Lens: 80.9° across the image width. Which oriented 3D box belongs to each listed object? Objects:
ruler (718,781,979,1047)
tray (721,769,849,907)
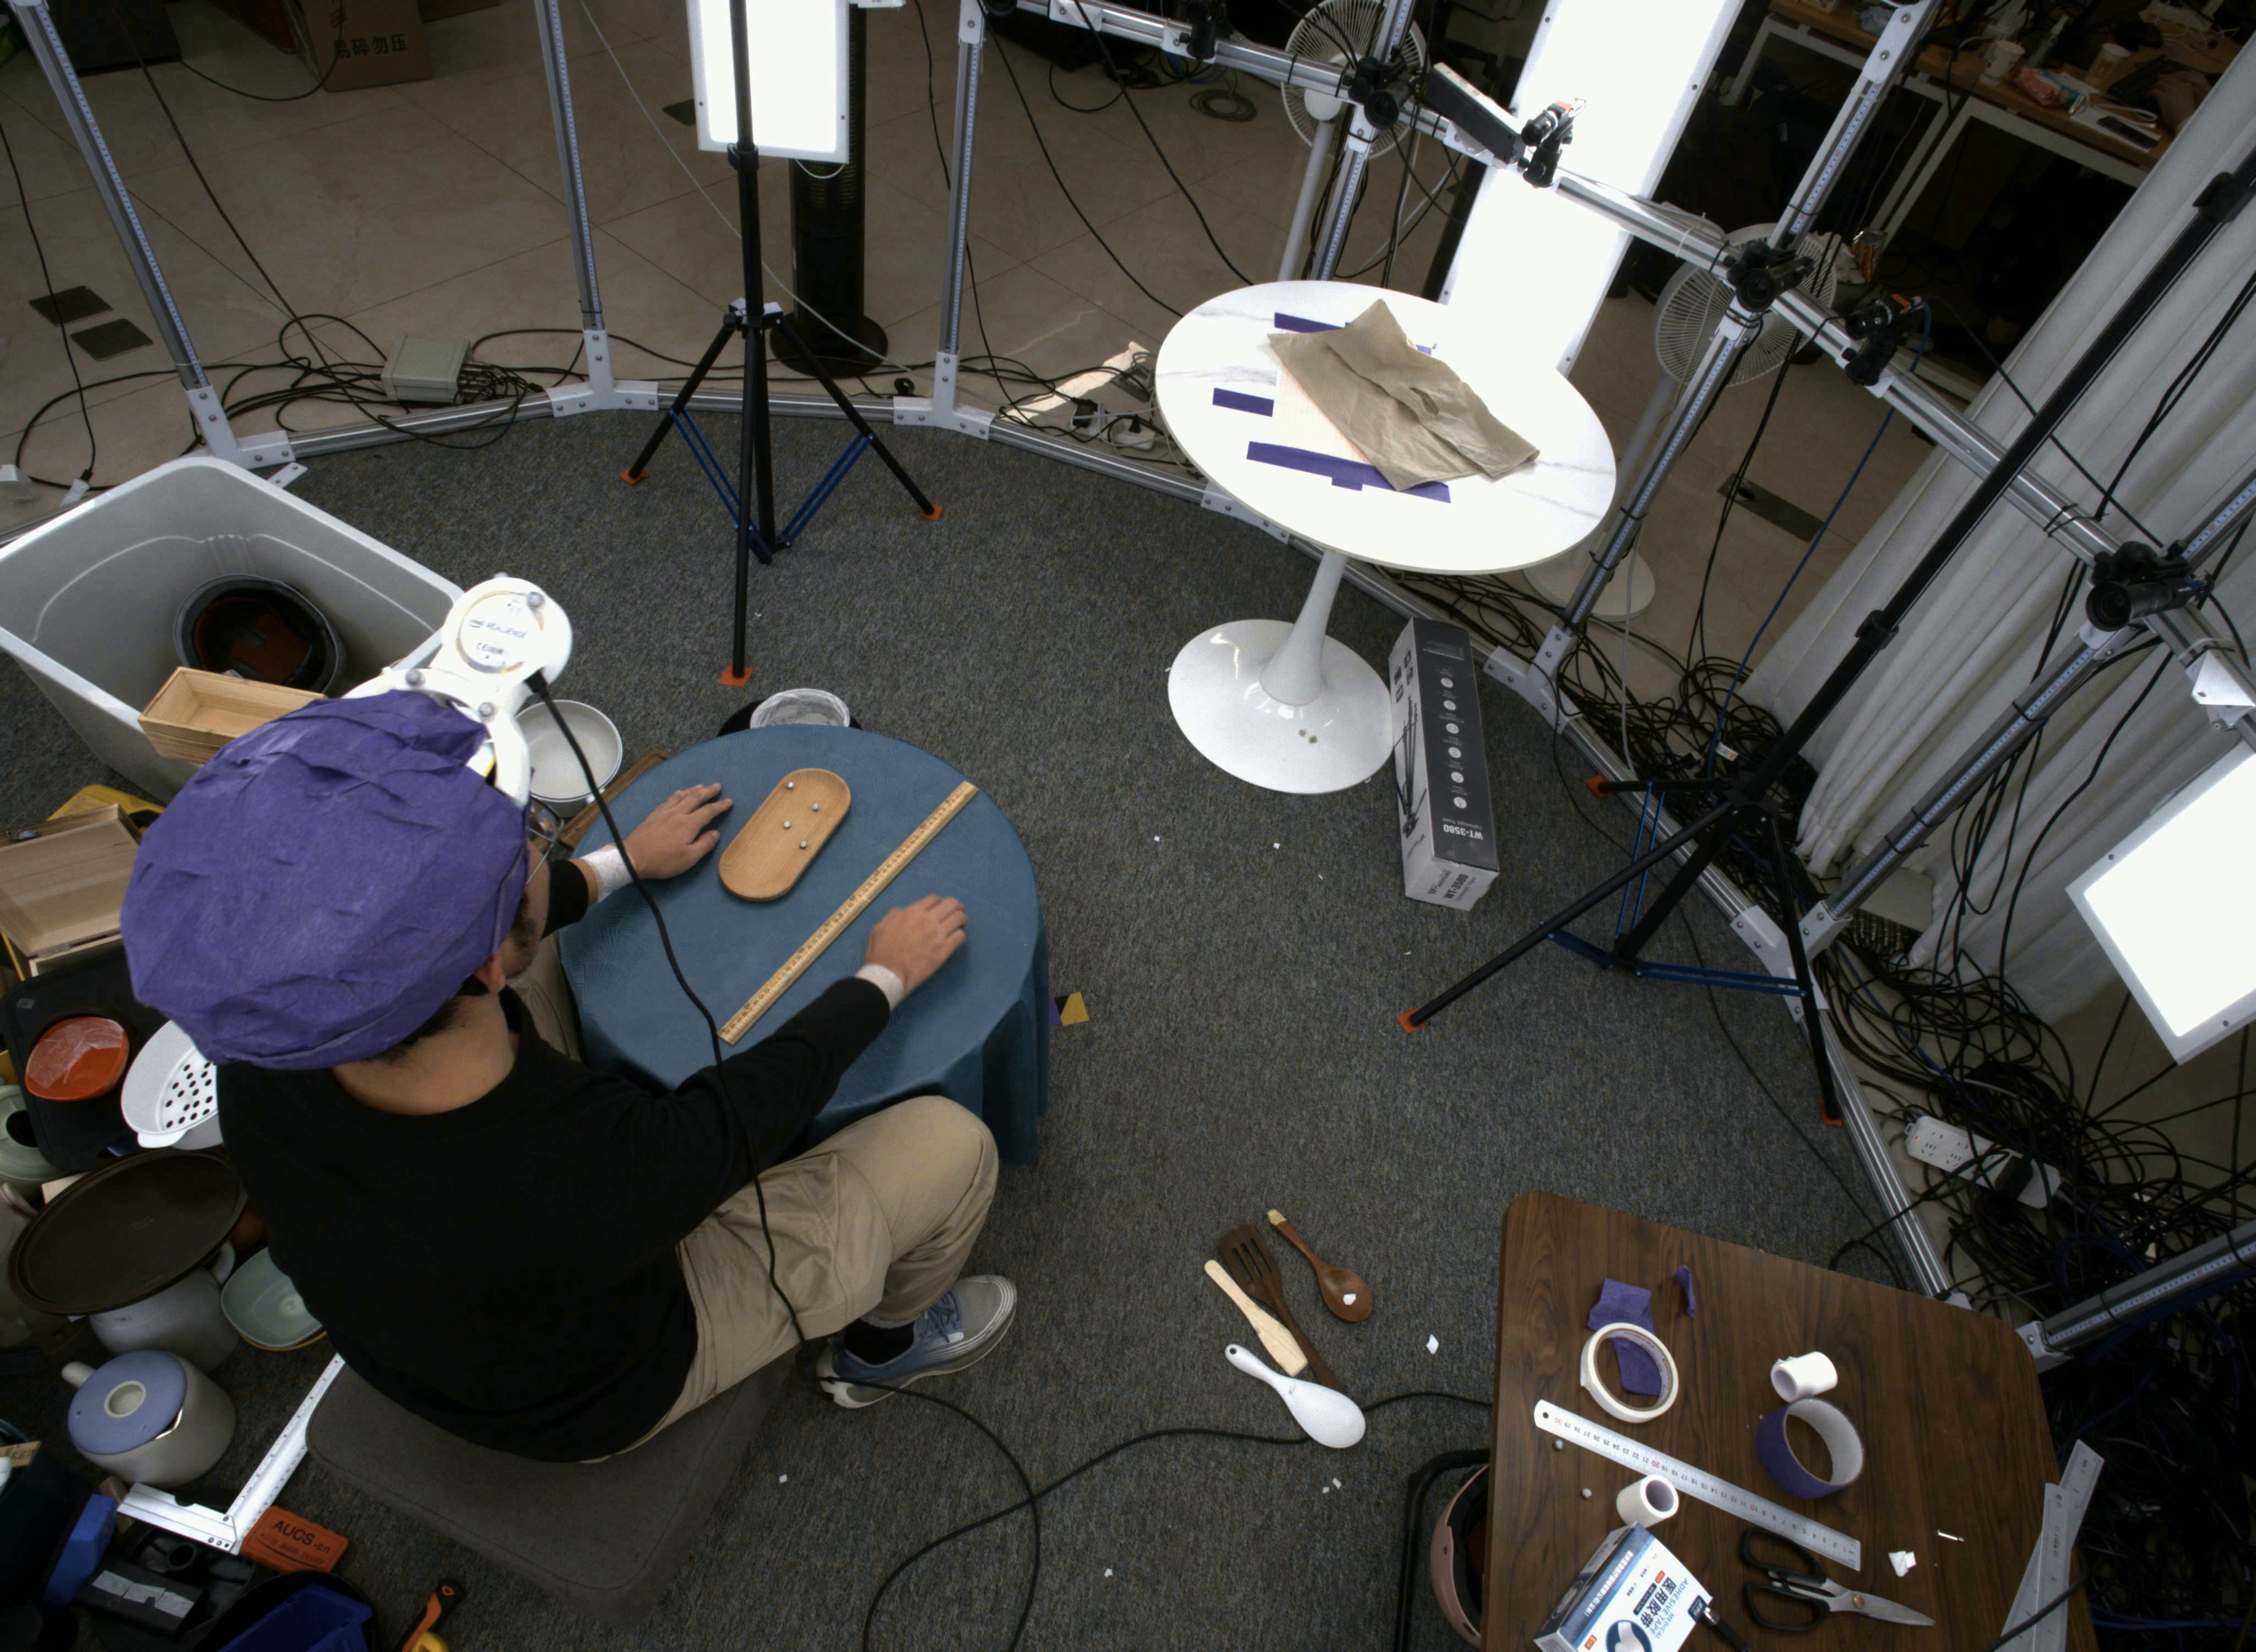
[{"bbox_3d":[-0.346,0.096,1.664,0.026,0.006,0.499,31,53,11],"label":"ruler"},{"bbox_3d":[-0.446,0.013,1.693,0.100,0.021,0.229,22,53,4],"label":"tray"}]
